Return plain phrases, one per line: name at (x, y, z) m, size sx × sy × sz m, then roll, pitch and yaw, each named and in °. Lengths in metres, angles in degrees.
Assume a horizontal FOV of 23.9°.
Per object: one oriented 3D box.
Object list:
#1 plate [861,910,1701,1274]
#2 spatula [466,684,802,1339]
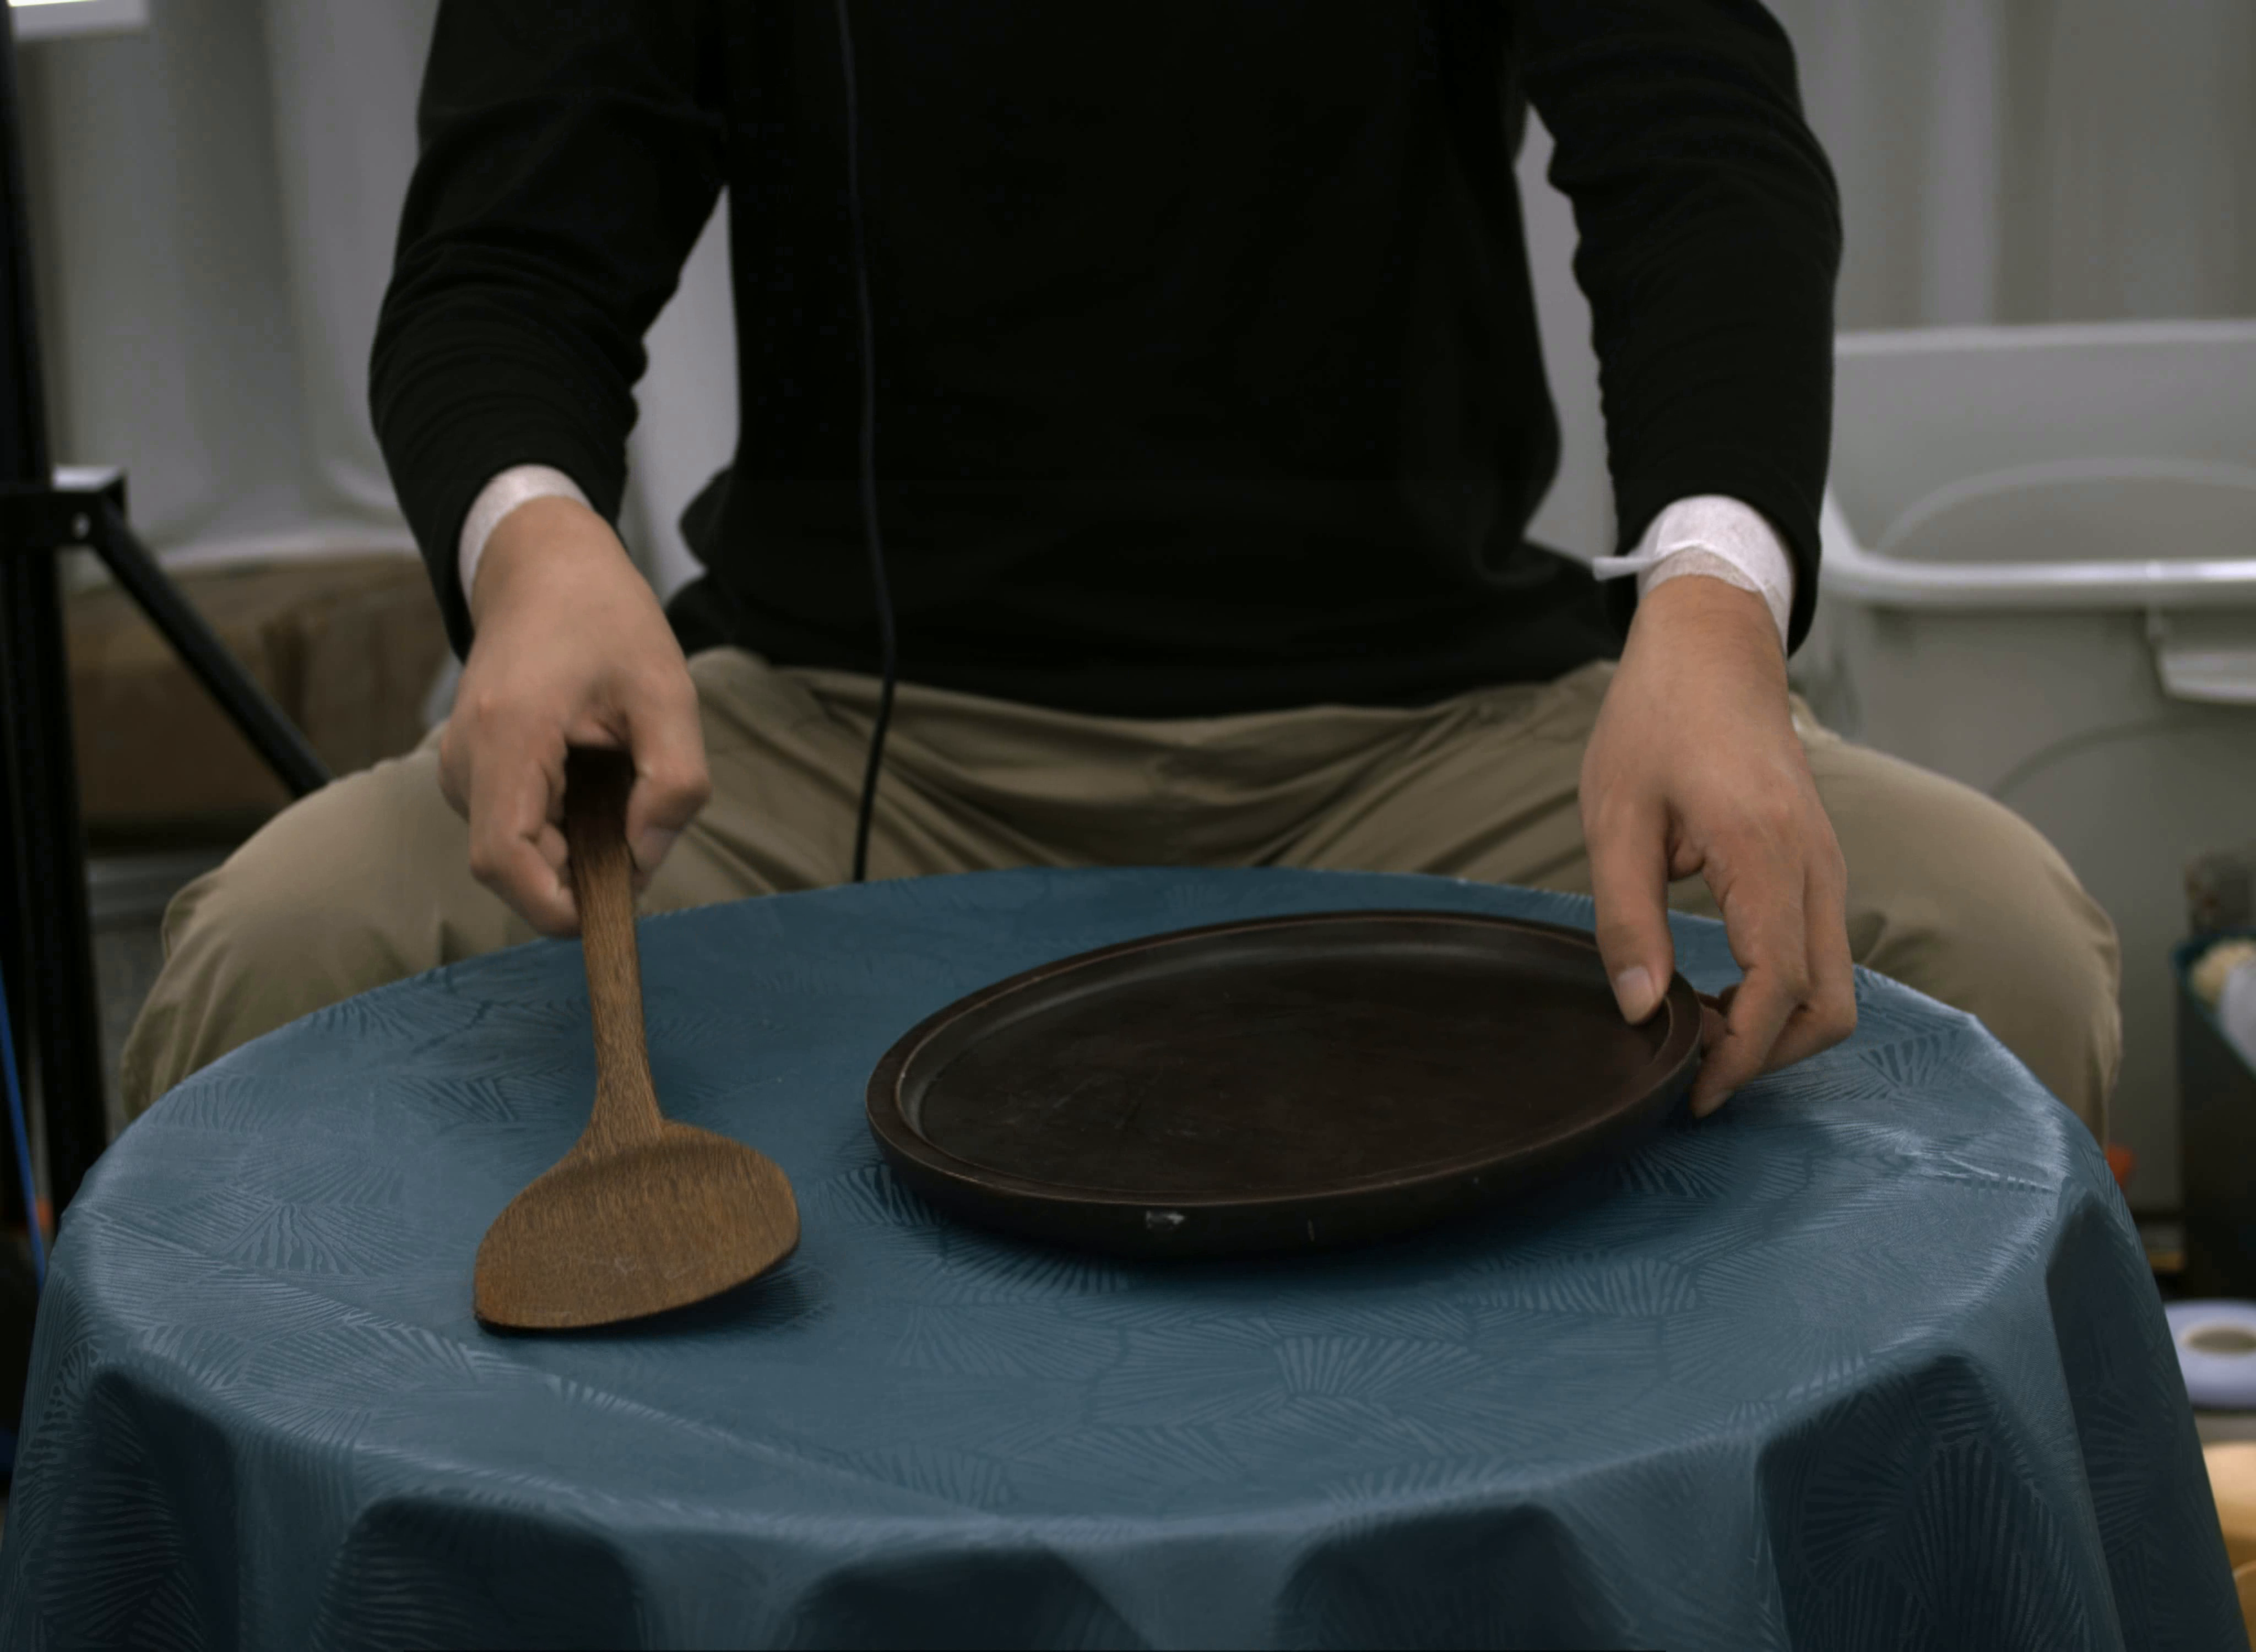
plate at (0.047, 0.077, 1.591) m, size 0.254 × 0.029 × 0.256 m, roll -8°, pitch 18°, yaw 1°
spatula at (-0.158, 0.045, 1.631) m, size 0.095 × 0.015 × 0.391 m, roll -13°, pitch 30°, yaw -1°
